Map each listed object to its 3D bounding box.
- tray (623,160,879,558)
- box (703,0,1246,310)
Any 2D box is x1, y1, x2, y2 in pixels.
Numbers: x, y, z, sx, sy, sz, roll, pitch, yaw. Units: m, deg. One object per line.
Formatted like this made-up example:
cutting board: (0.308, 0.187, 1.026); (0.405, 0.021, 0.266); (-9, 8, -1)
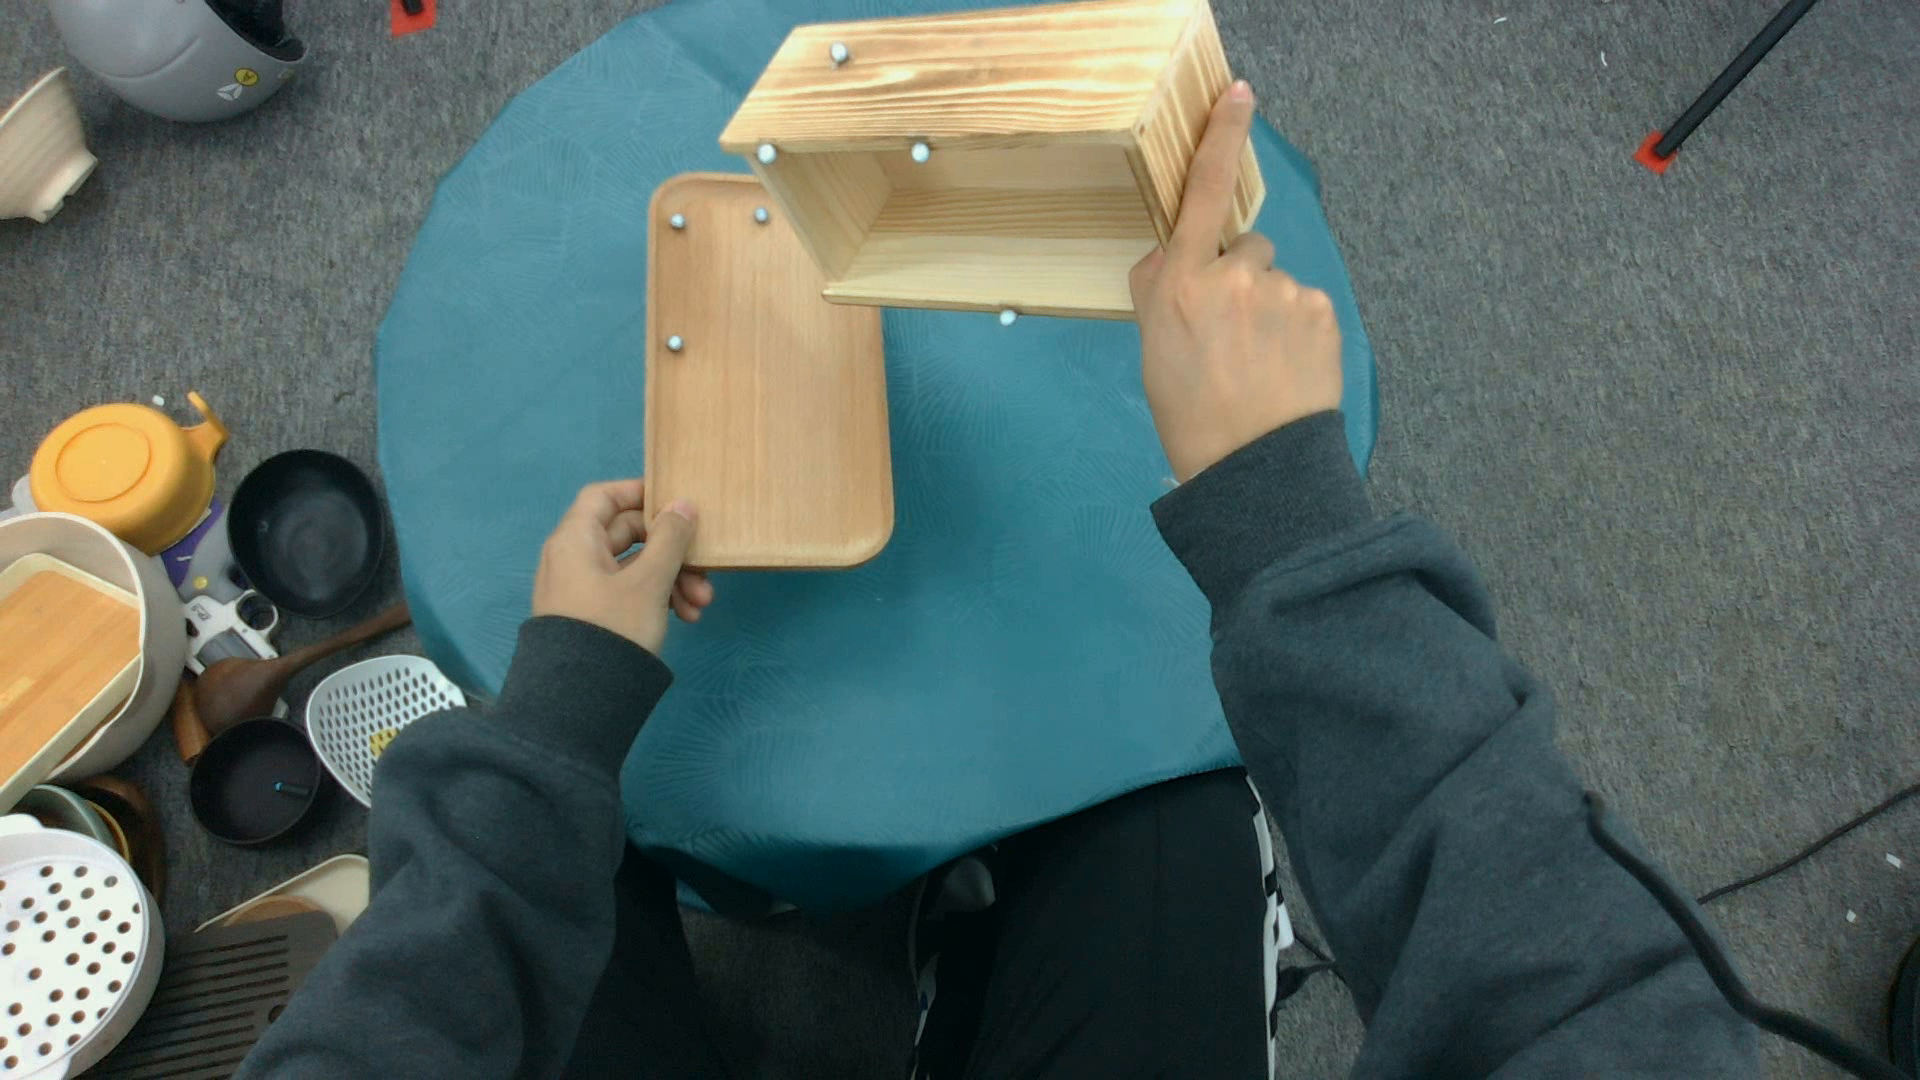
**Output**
tray: (-0.115, -0.103, 0.744); (0.130, 0.023, 0.251); (-1, 64, -9)
box: (0.006, -0.173, 0.618); (0.211, 0.107, 0.080); (9, 60, 33)
